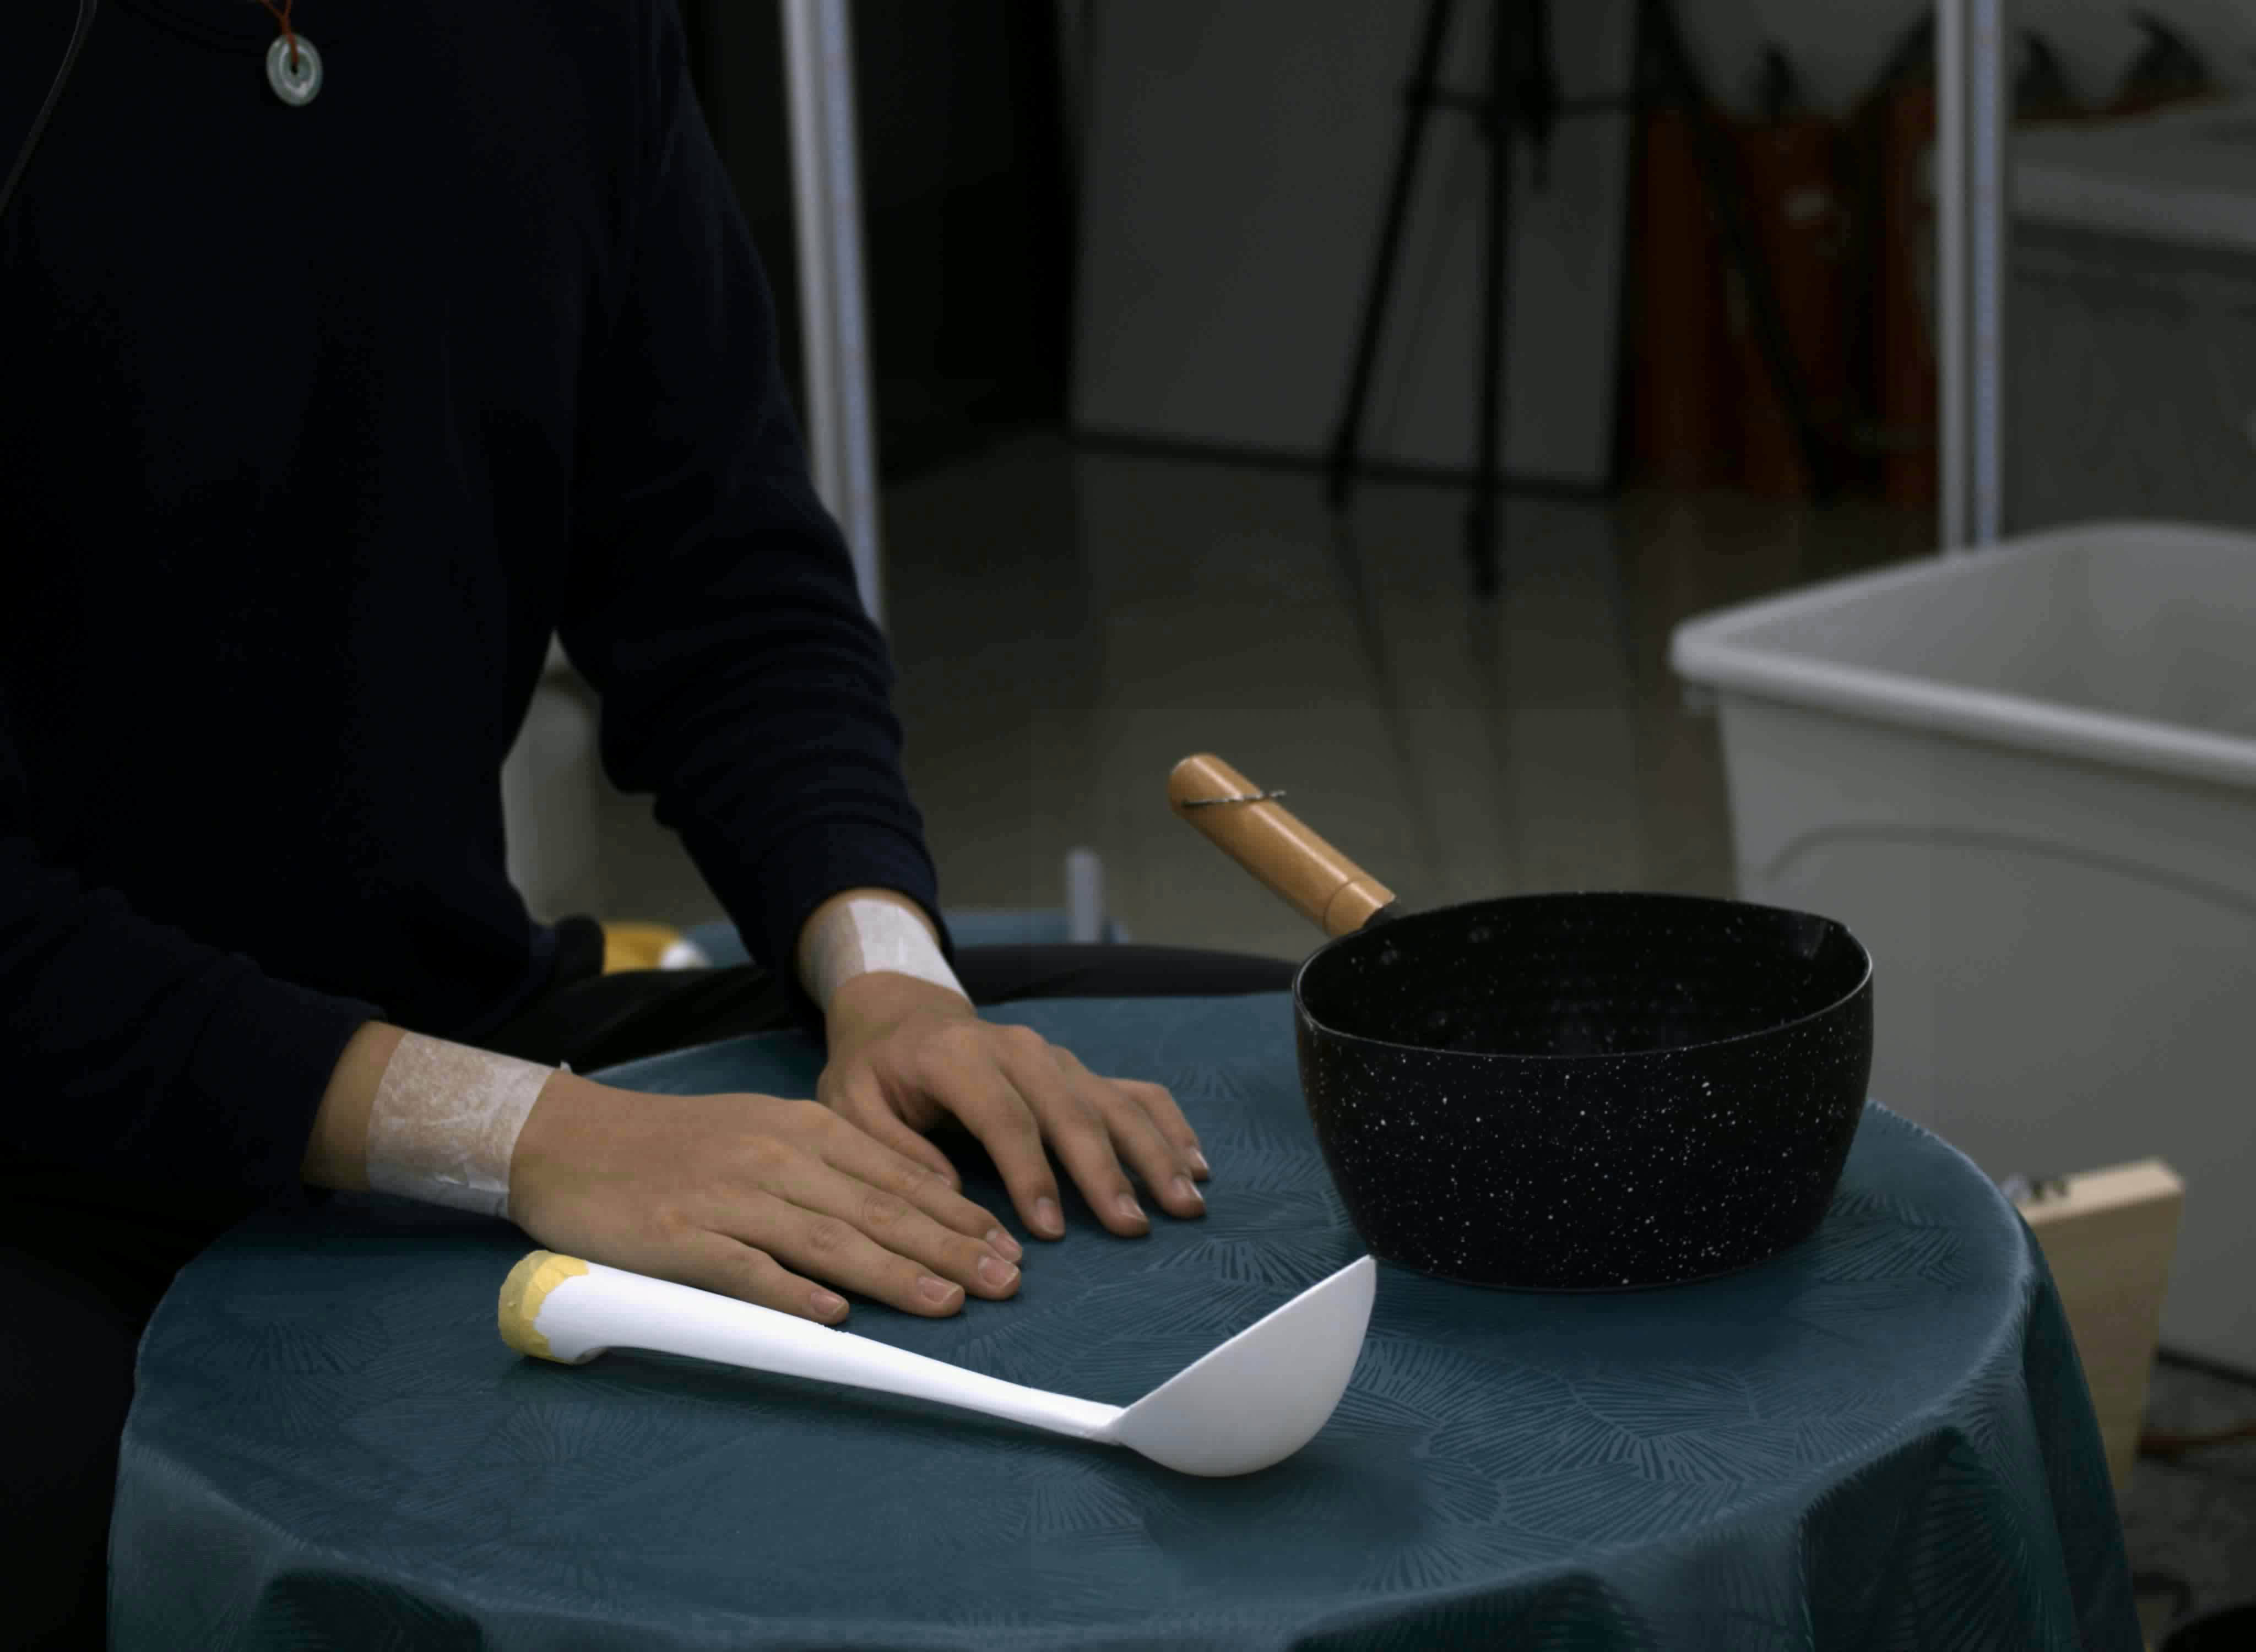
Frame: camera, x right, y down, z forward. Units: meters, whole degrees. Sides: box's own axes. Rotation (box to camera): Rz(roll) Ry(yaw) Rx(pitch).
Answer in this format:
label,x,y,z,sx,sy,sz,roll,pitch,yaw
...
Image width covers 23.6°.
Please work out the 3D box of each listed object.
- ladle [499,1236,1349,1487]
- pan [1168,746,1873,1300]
label,x,y,z,sx,sy,sz,roll,pitch,yaw
ladle,-0.065,0.145,1.561,0.294,0.070,0.089,4,23,35
pan,0.105,0.058,1.767,0.203,0.109,0.346,-12,17,-27
